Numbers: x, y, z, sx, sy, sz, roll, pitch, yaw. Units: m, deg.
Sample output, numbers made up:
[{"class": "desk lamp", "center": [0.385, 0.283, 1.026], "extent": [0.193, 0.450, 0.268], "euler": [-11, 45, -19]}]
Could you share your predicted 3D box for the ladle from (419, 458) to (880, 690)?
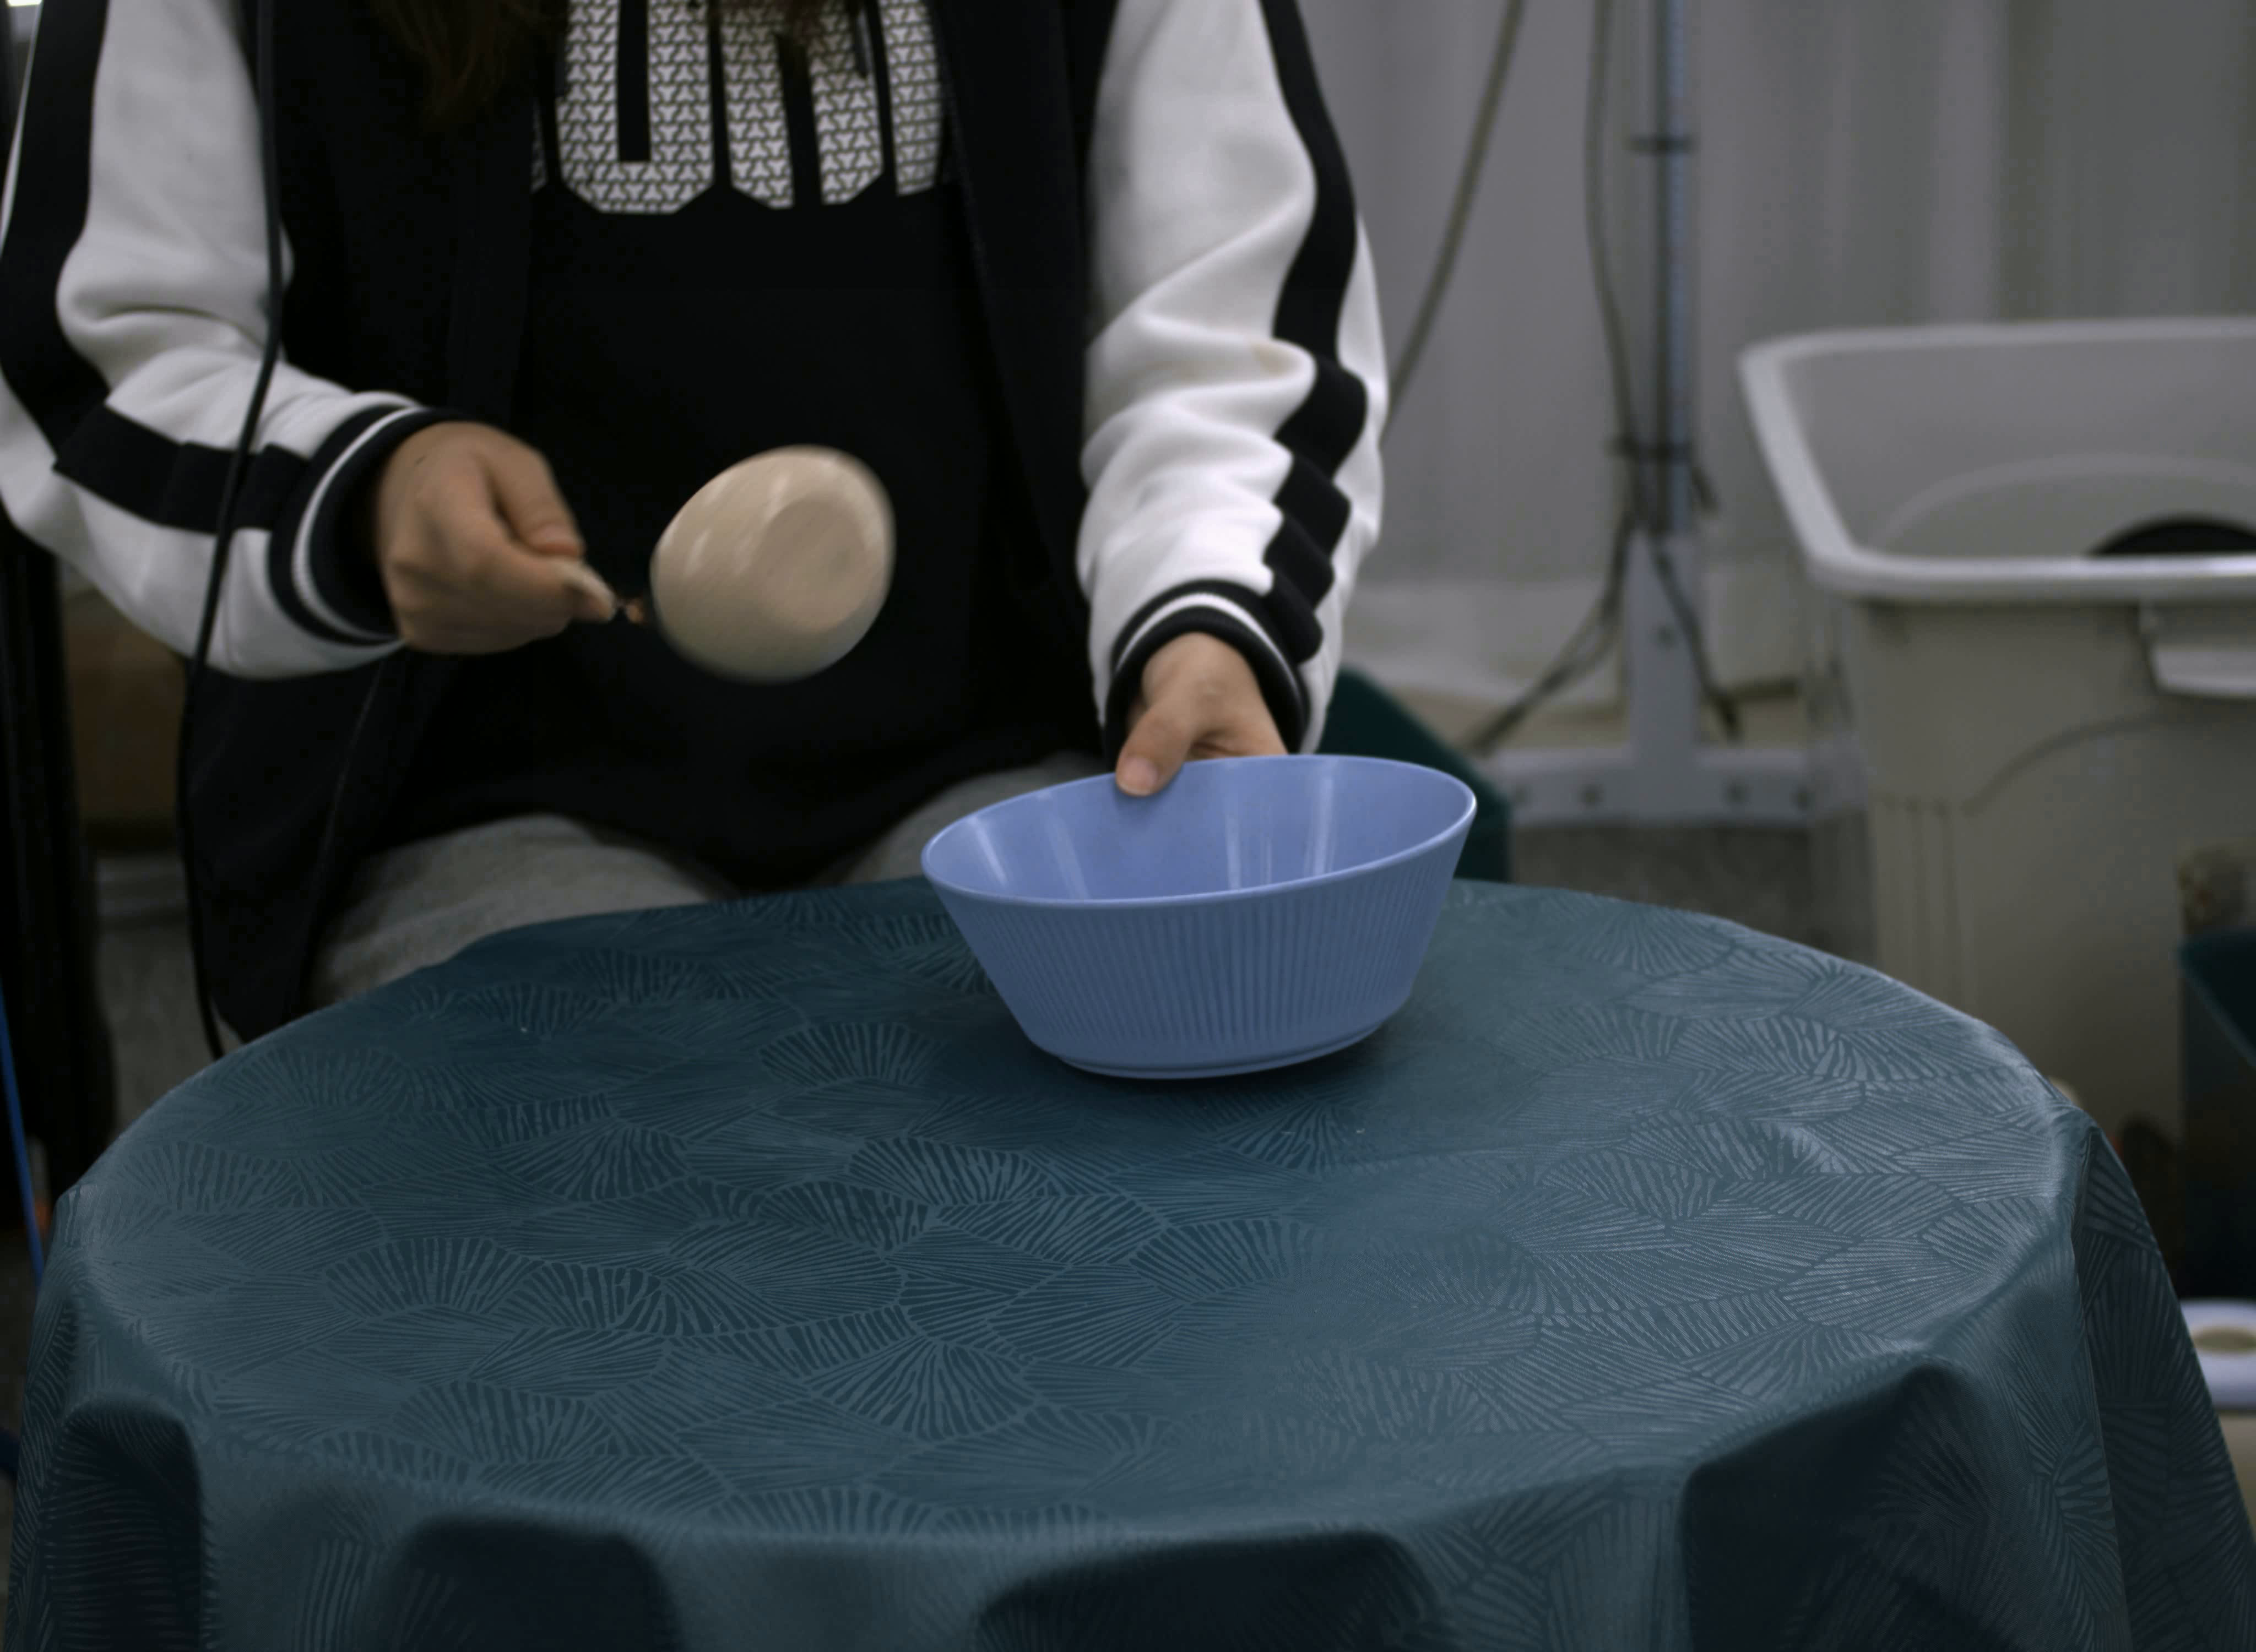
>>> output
[{"class": "ladle", "center": [-0.158, -0.096, 1.677], "extent": [0.070, 0.073, 0.260], "euler": [15, 4, -32]}]

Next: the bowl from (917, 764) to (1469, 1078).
[{"class": "bowl", "center": [0.023, 0.032, 1.681], "extent": [0.175, 0.070, 0.177], "euler": [-6, 13, 0]}]
